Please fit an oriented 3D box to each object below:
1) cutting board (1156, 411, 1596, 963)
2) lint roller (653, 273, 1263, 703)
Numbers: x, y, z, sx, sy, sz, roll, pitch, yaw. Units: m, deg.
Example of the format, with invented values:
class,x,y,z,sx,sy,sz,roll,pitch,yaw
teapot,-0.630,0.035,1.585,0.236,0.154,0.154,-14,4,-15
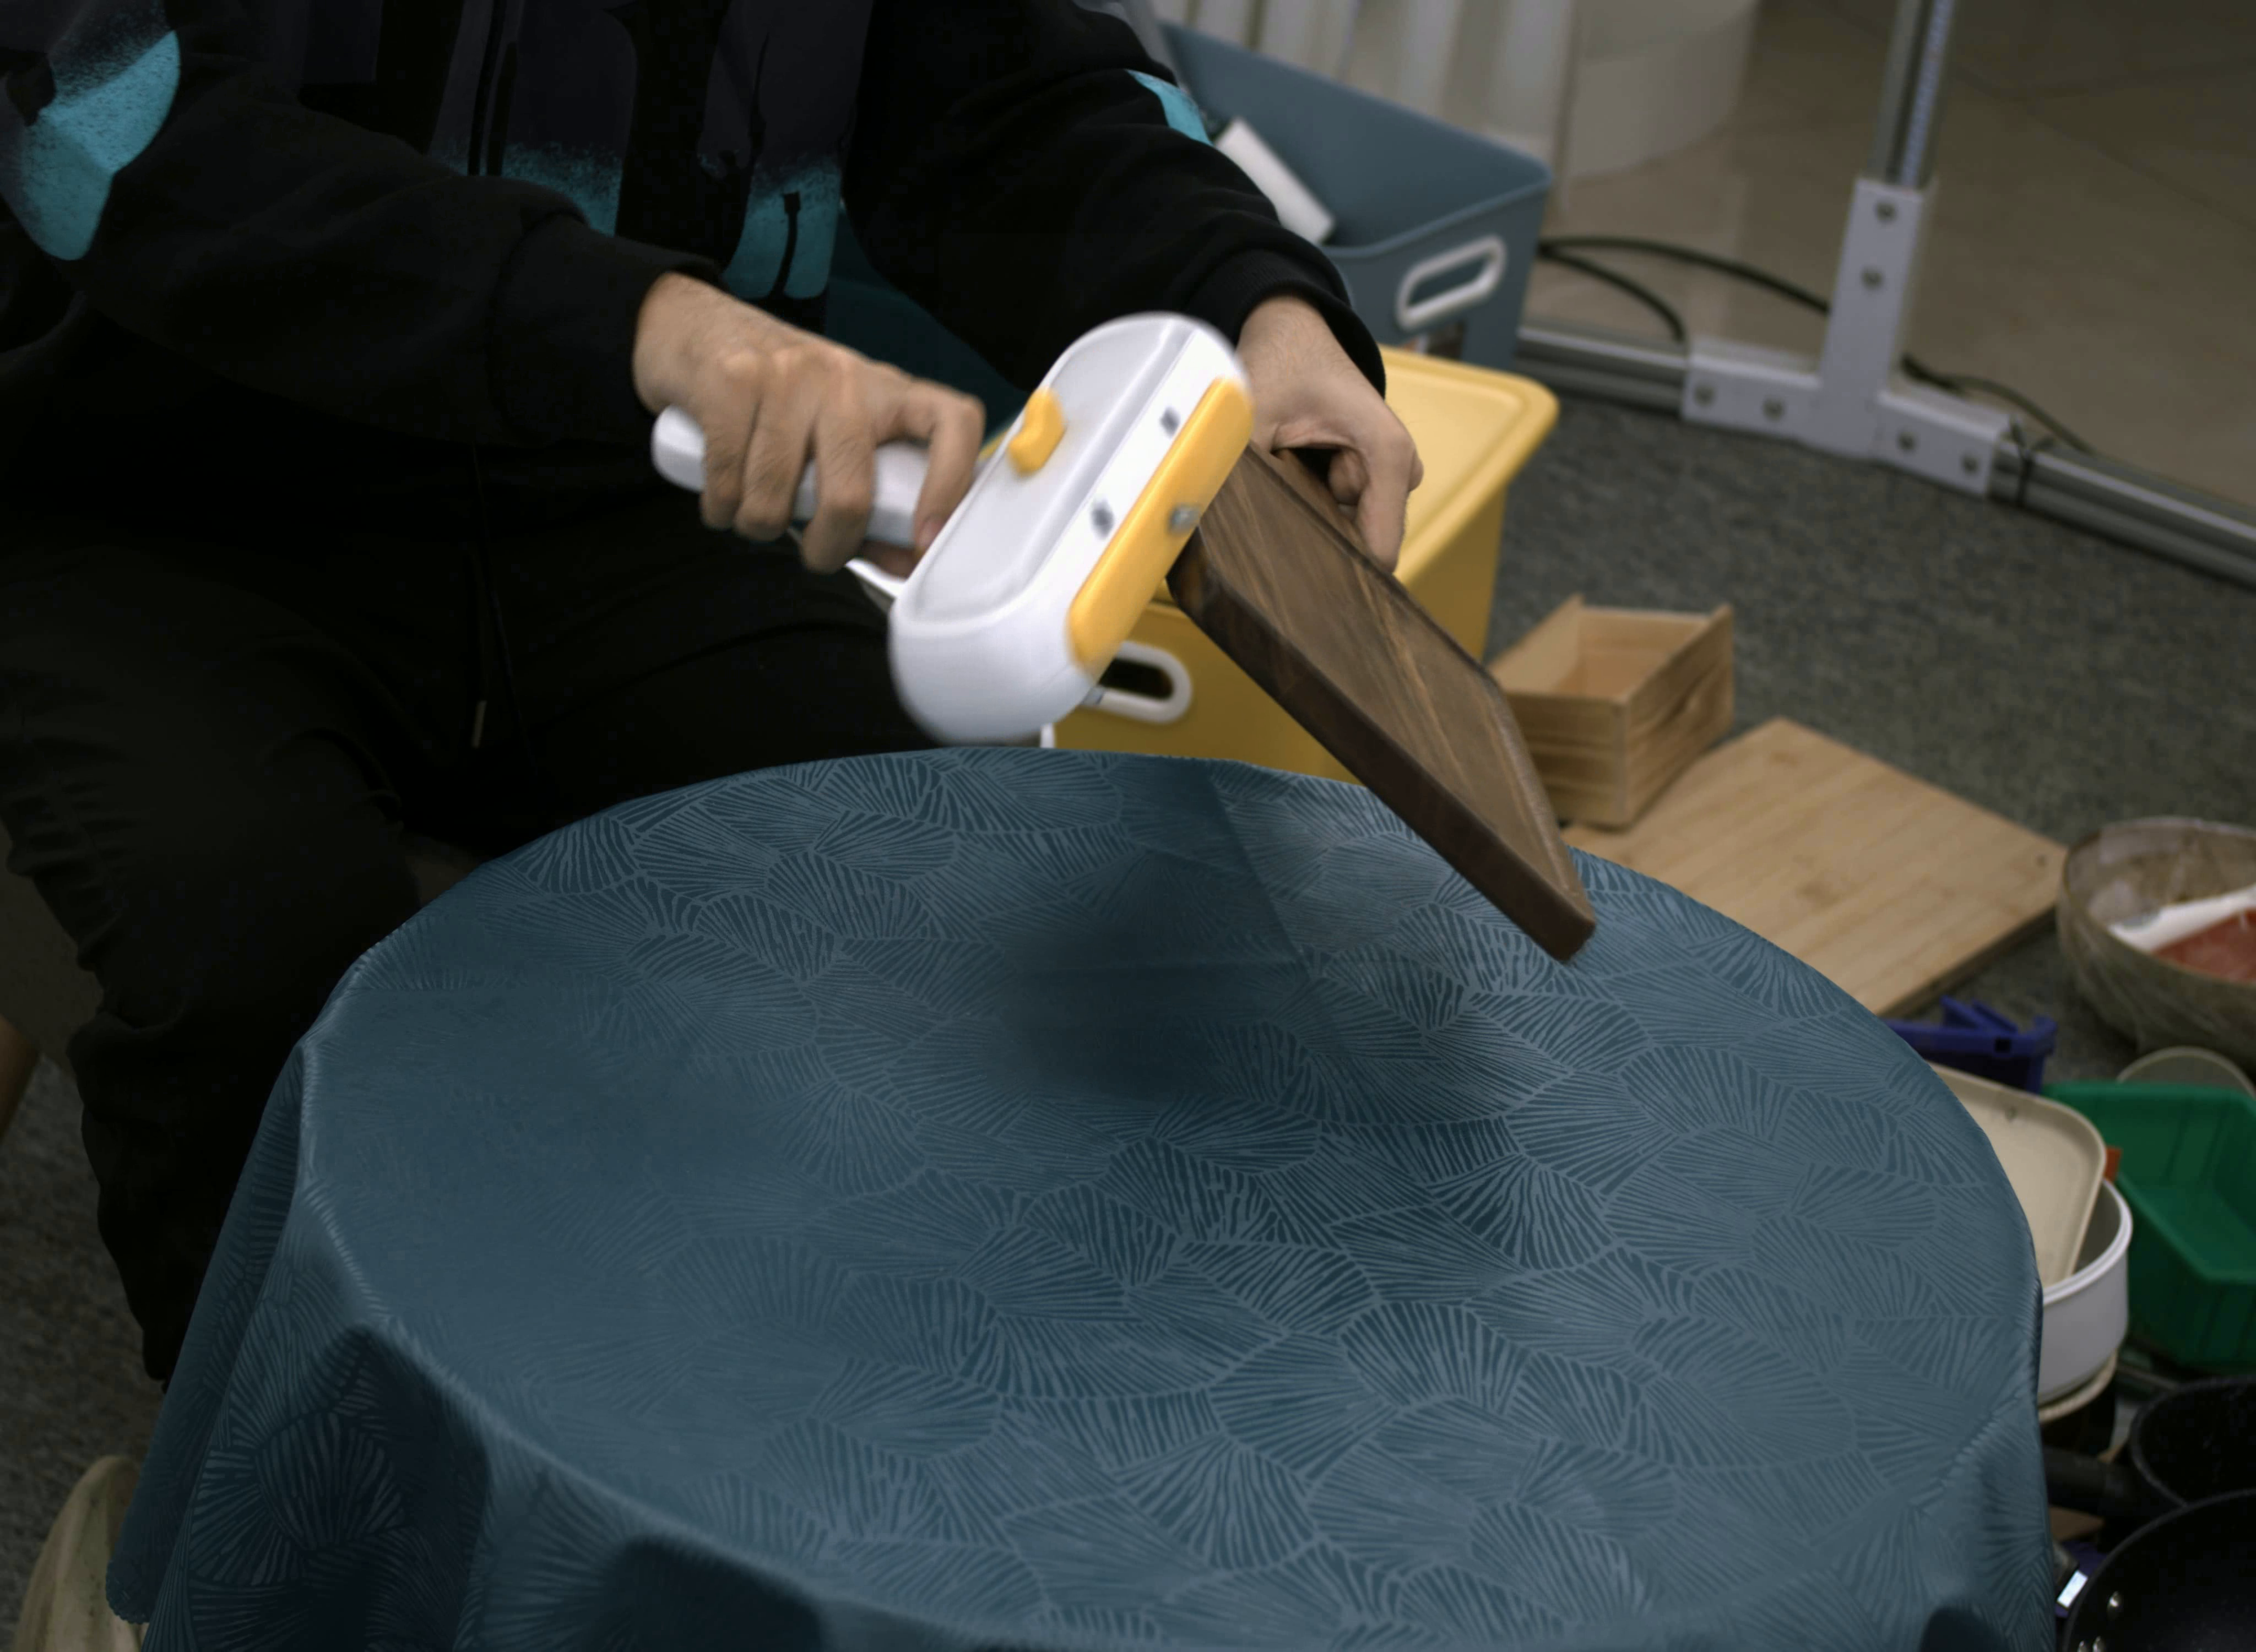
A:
class,x,y,z,sx,sy,sz,roll,pitch,yaw
cutting board,0.071,-0.084,1.939,0.200,0.023,0.354,43,12,-19
lint roller,-0.067,-0.119,1.798,0.193,0.073,0.194,0,43,25
